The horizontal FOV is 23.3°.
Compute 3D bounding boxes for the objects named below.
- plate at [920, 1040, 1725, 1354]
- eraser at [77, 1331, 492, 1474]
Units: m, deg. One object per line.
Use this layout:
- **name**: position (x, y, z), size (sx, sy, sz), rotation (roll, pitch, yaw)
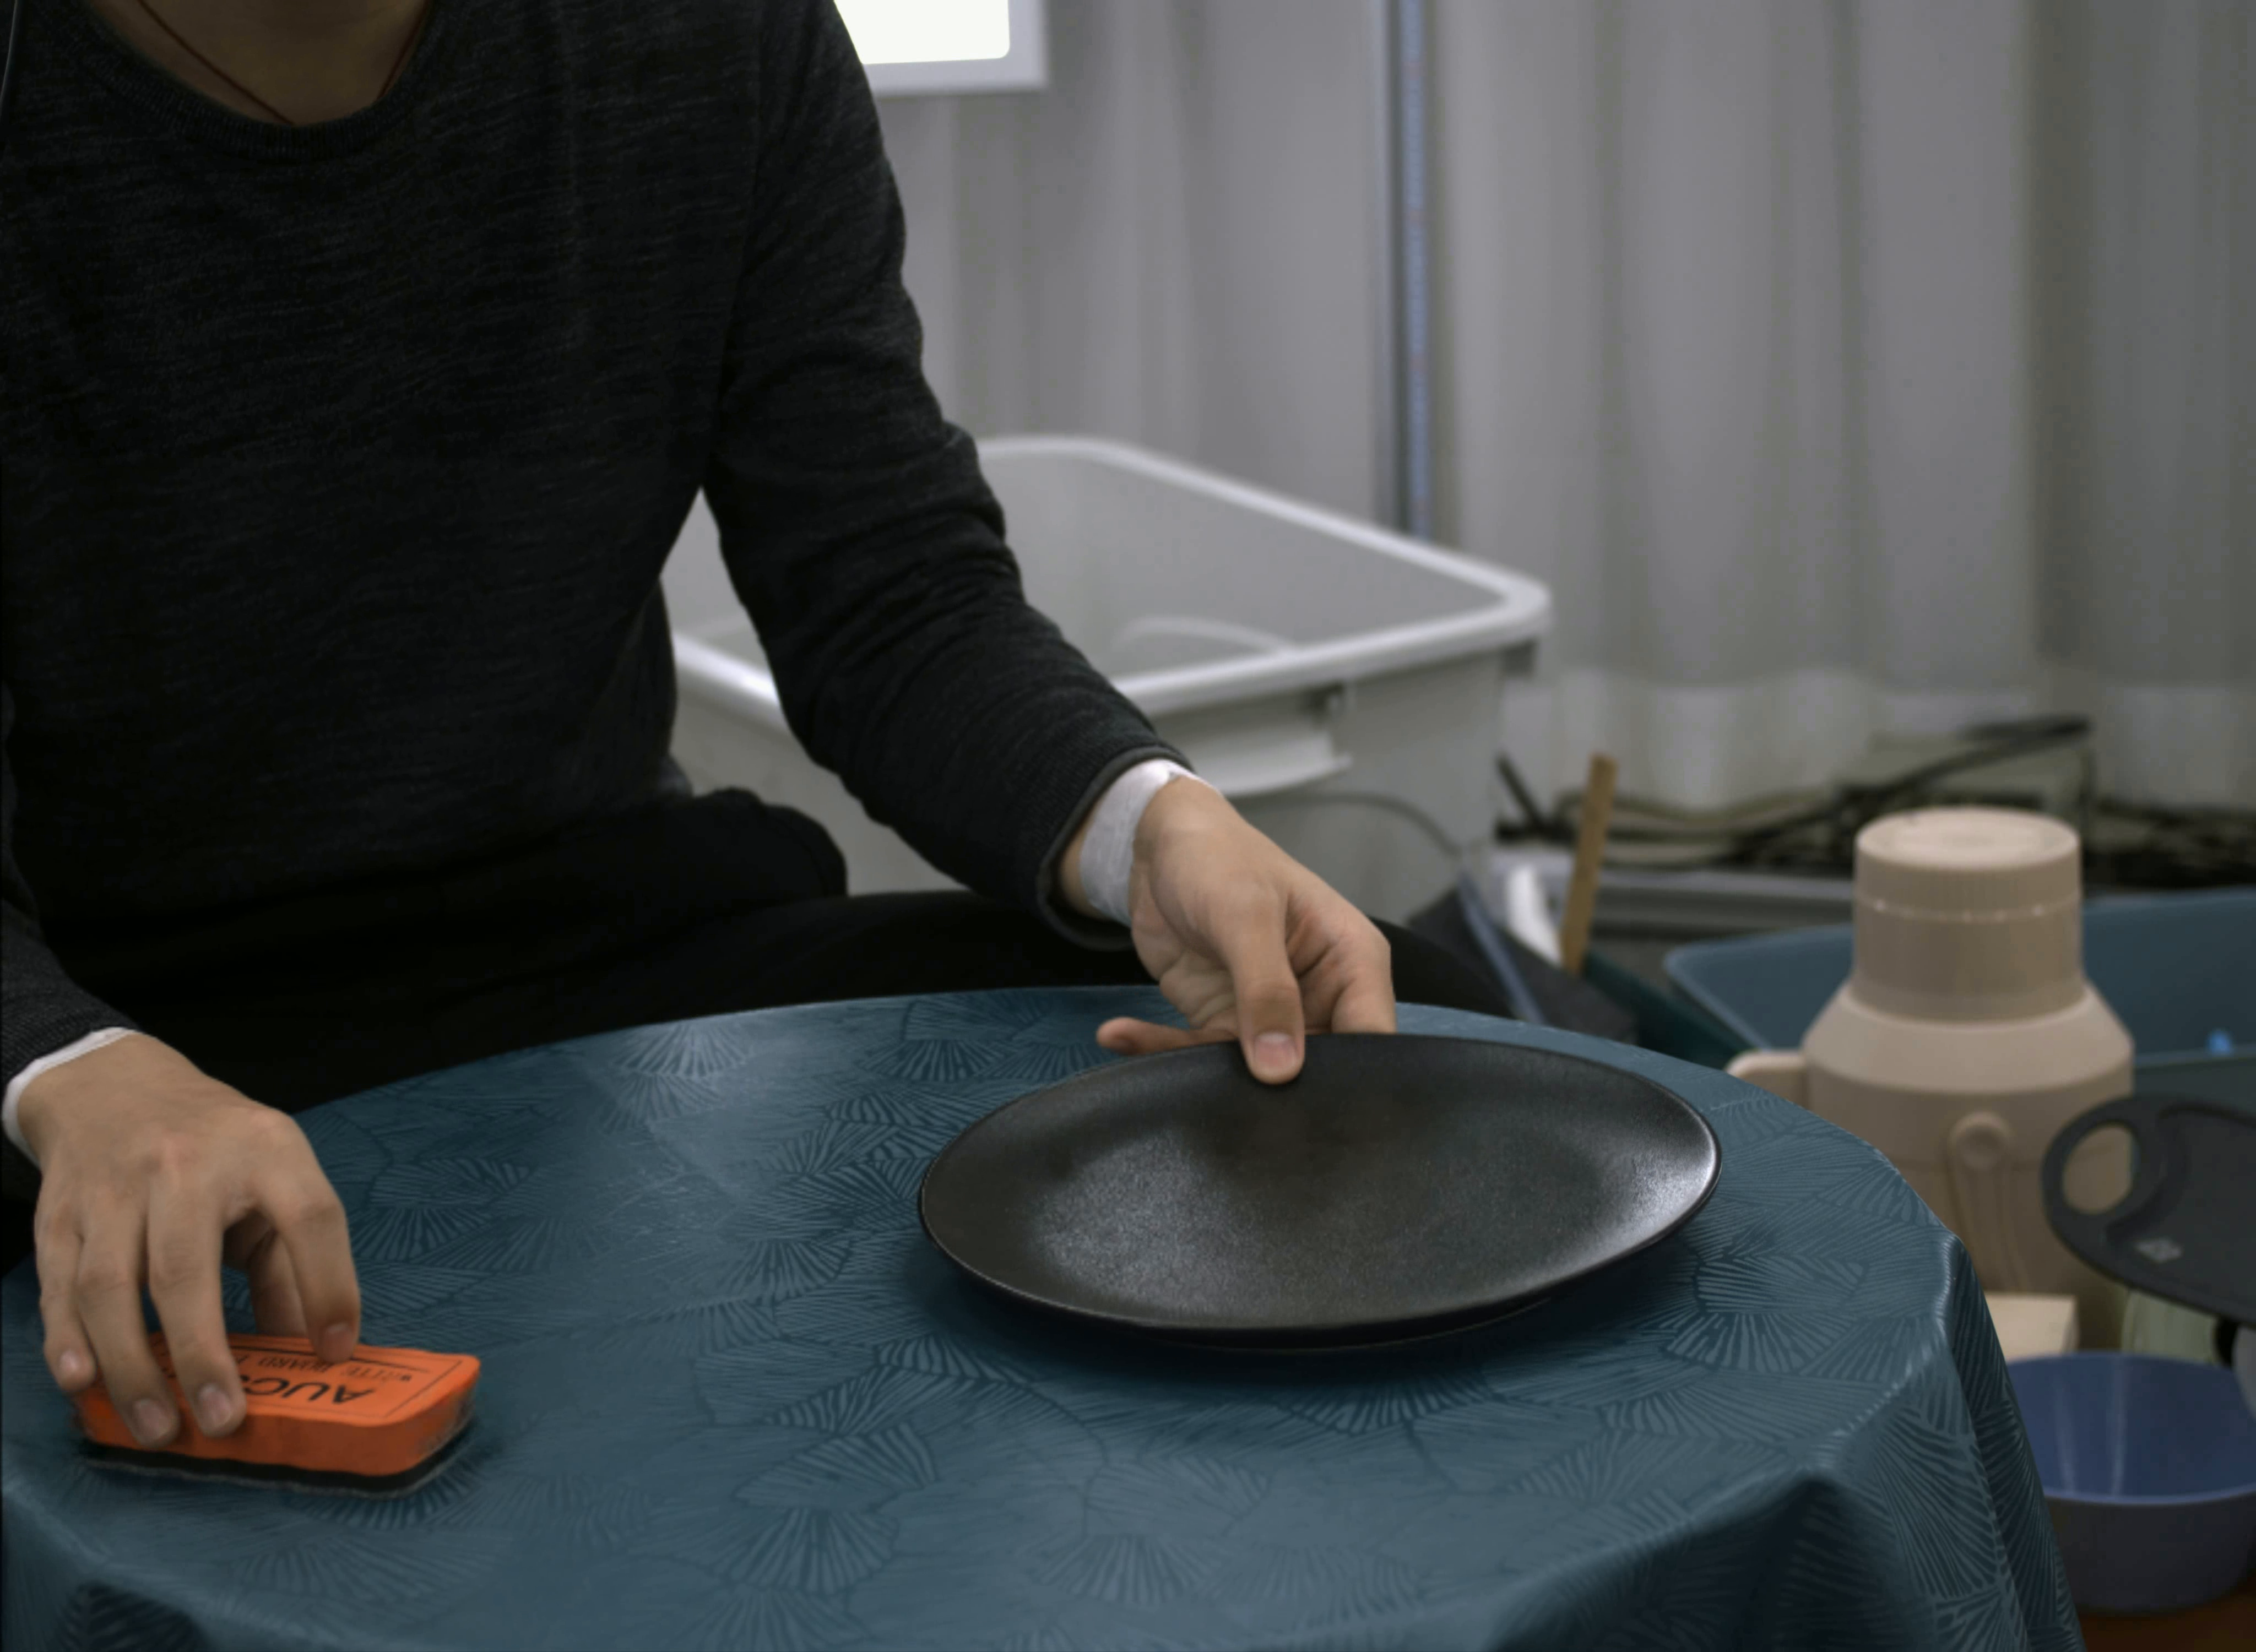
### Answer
- **plate**: position (0.059, 0.114, 1.649), size (0.243, 0.023, 0.246), rotation (-4, 17, 1)
- **eraser**: position (-0.235, 0.161, 1.529), size (0.108, 0.023, 0.059), rotation (1, 9, 23)
